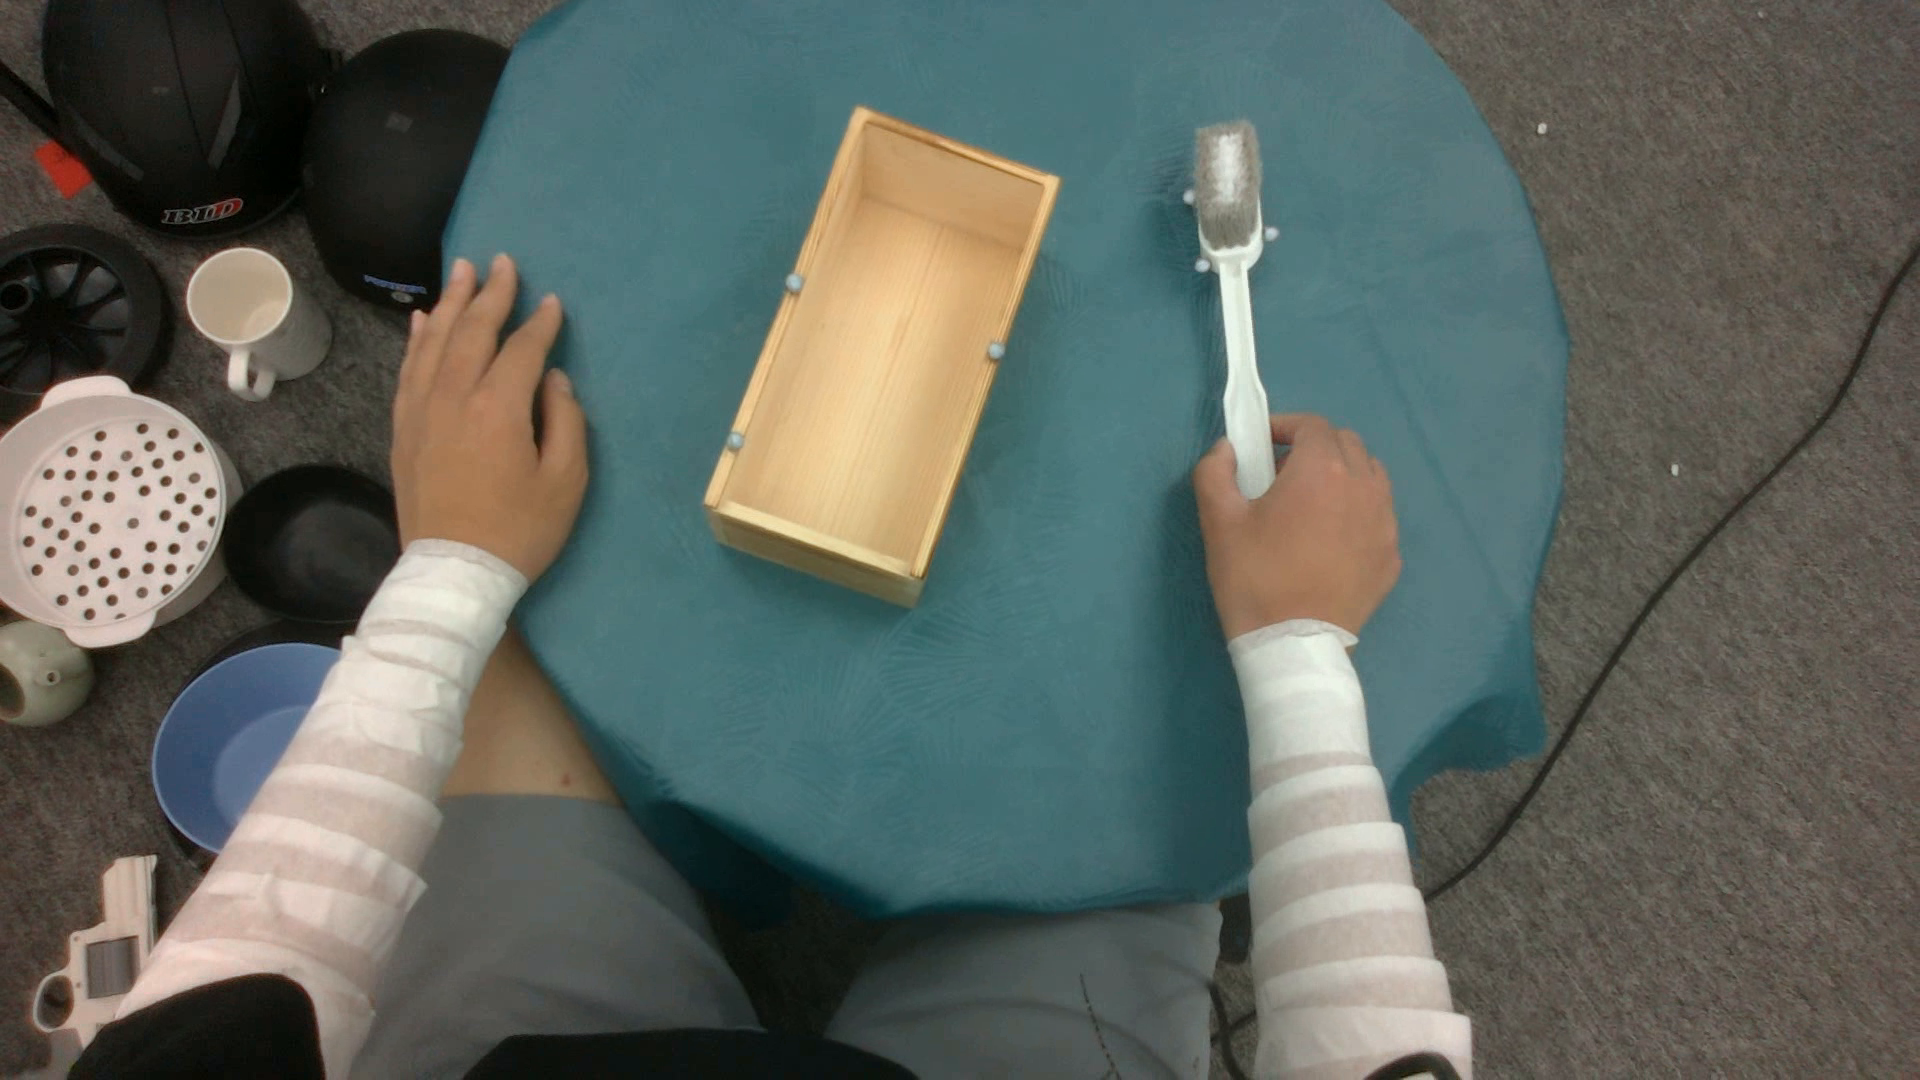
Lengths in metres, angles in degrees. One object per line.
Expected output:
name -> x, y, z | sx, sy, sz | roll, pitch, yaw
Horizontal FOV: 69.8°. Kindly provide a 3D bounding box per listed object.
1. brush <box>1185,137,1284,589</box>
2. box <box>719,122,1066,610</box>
brush -> 0.144, -0.097, 0.719 | 0.034, 0.050, 0.244 | -8, 74, 23
box -> -0.032, -0.085, 0.692 | 0.107, 0.080, 0.212 | 18, 77, -1
